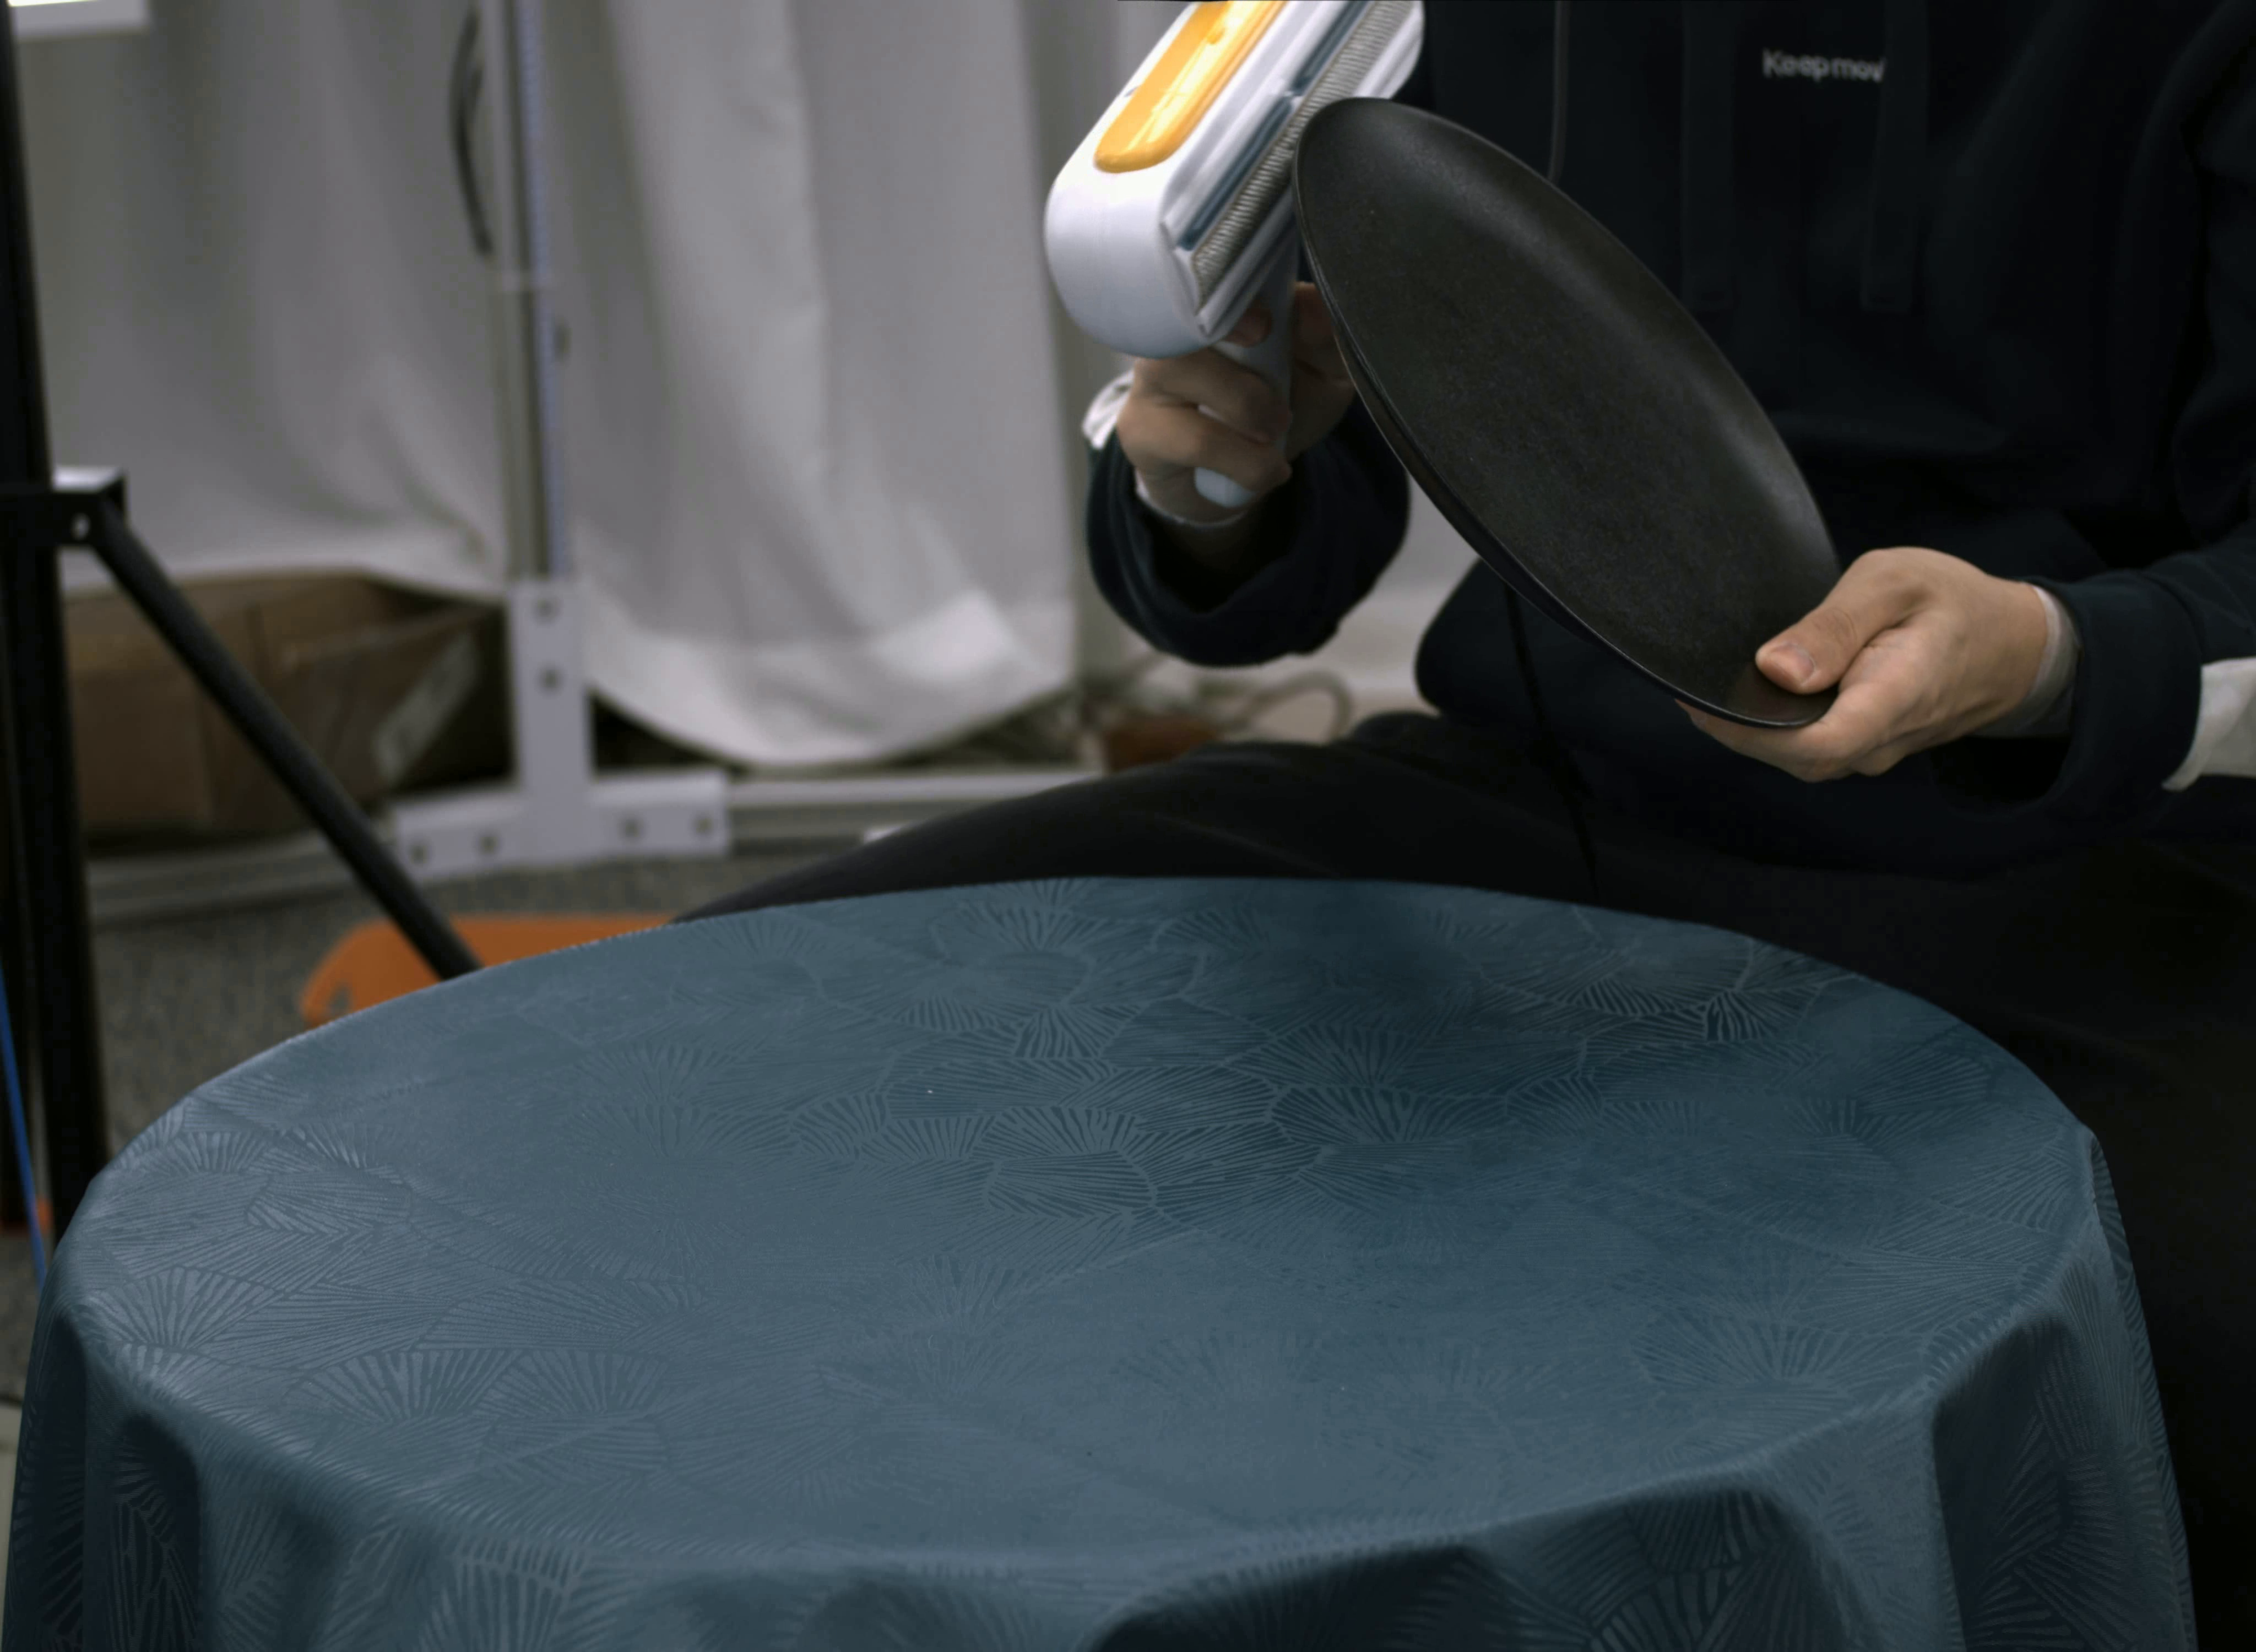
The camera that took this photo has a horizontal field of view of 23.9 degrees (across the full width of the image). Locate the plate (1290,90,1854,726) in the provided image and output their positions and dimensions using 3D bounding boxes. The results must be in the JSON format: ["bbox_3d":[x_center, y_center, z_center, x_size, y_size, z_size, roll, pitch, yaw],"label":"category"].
[{"bbox_3d":[0.133,-0.125,1.642,0.023,0.245,0.241,-42,-4,28],"label":"plate"}]

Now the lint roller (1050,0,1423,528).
[{"bbox_3d":[0.040,-0.179,1.710,0.075,0.190,0.192,4,38,24],"label":"lint roller"}]
